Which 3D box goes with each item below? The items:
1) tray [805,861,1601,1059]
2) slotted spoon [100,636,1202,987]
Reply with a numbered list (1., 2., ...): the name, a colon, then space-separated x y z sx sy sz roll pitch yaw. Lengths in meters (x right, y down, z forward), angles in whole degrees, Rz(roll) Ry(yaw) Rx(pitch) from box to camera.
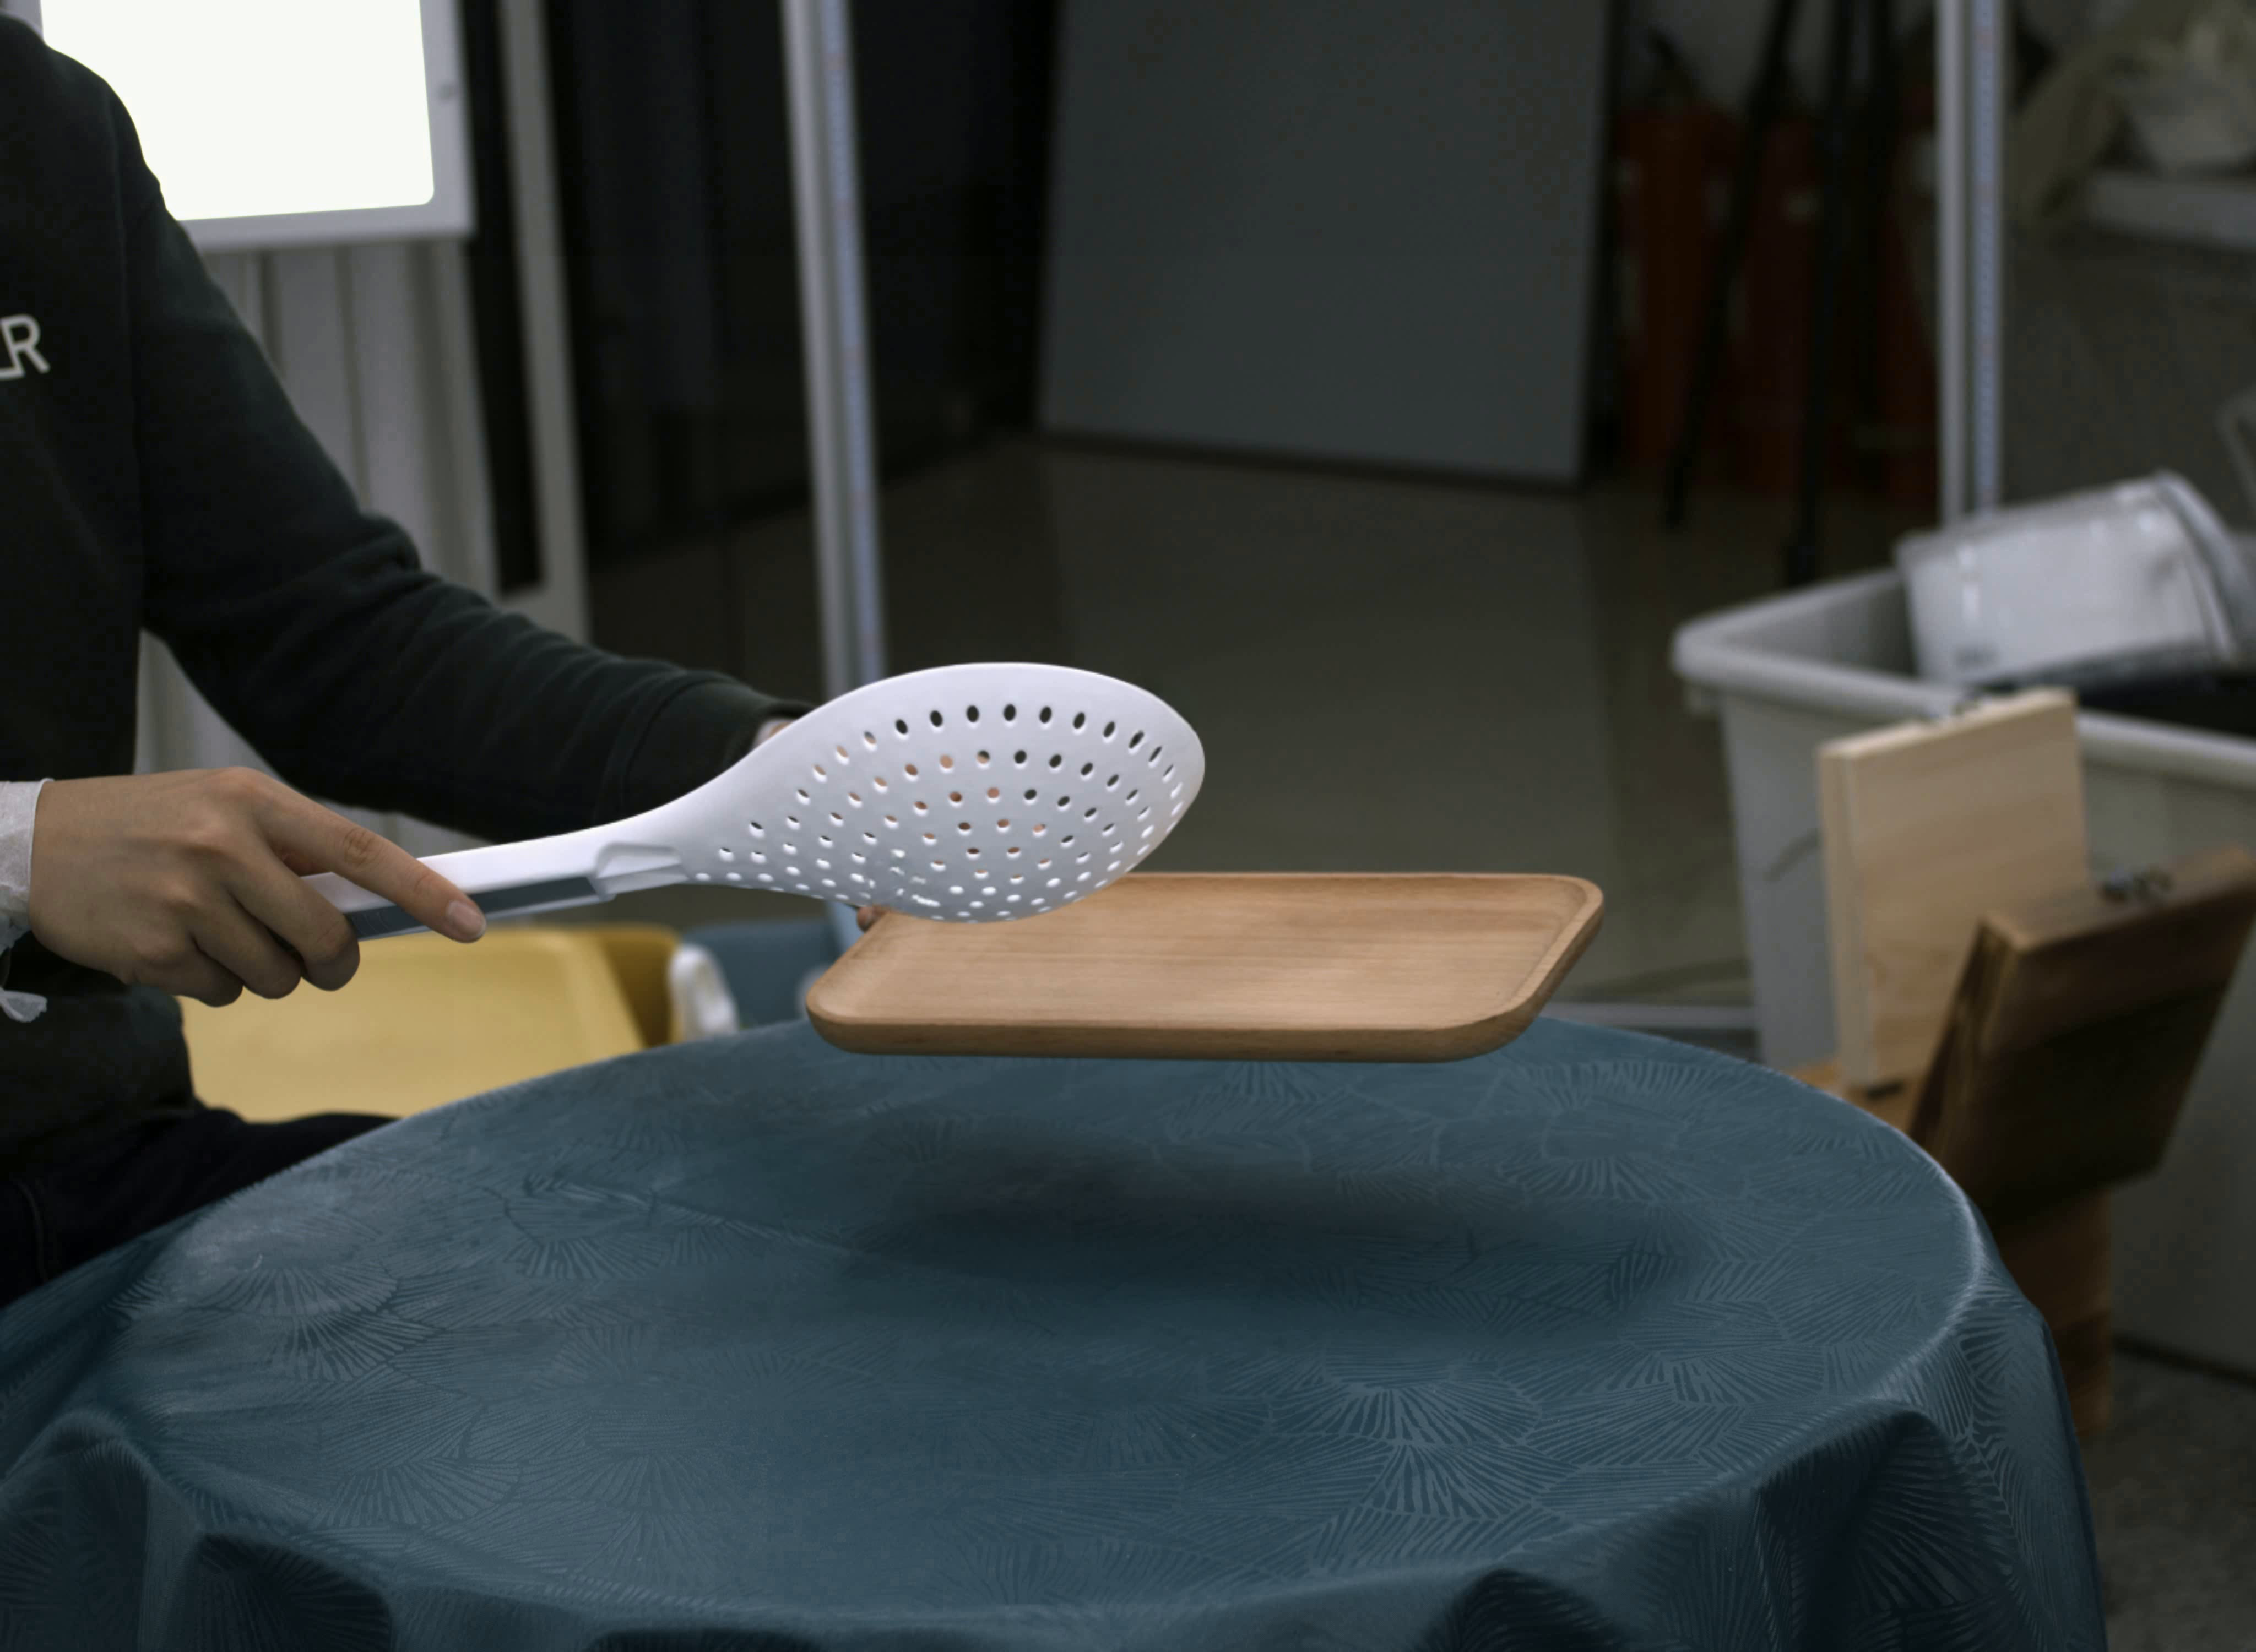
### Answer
1. tray: 0.024 0.044 1.736 0.251 0.023 0.129 -2 19 25
2. slotted spoon: -0.147 0.007 1.648 0.348 0.046 0.135 -7 -32 13
